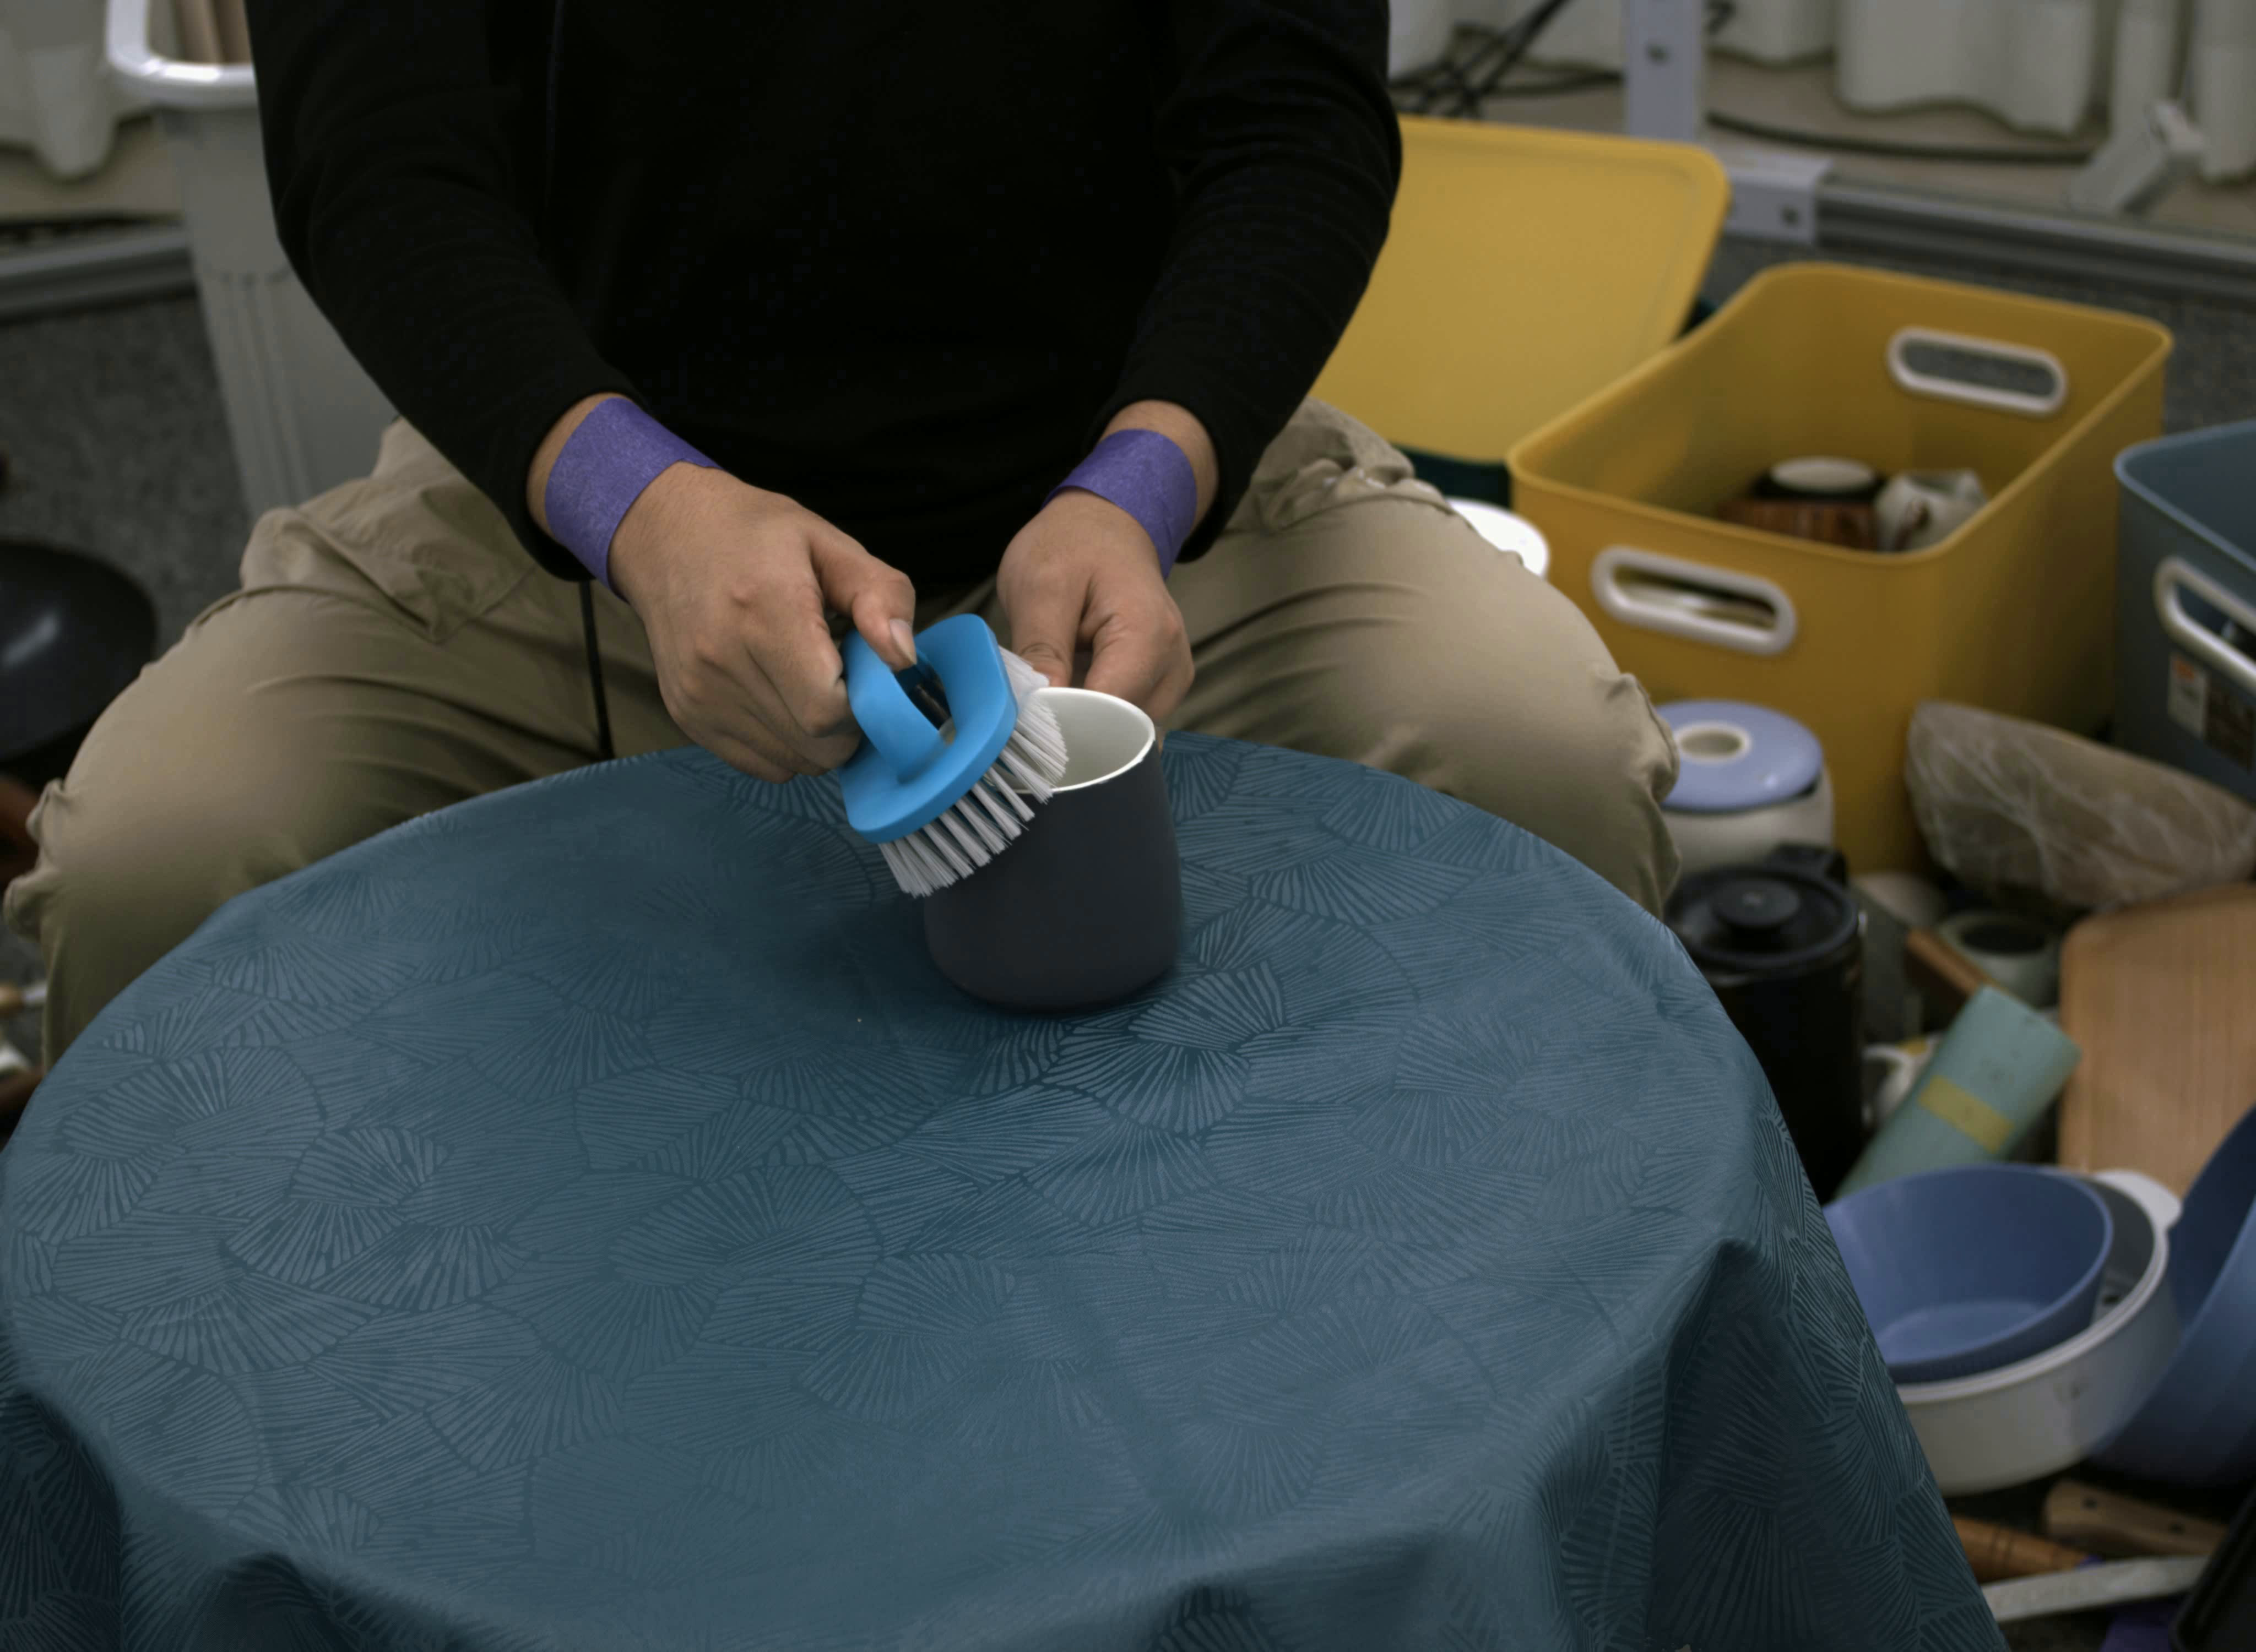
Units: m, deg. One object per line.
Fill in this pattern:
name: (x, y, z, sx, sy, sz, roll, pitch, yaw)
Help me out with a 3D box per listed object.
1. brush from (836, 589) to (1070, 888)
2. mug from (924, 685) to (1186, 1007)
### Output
brush: (-0.072, -0.040, 1.971, 0.084, 0.063, 0.143, -42, 21, 12)
mug: (-0.027, 0.000, 1.997, 0.093, 0.089, 0.125, -2, 29, 0)
